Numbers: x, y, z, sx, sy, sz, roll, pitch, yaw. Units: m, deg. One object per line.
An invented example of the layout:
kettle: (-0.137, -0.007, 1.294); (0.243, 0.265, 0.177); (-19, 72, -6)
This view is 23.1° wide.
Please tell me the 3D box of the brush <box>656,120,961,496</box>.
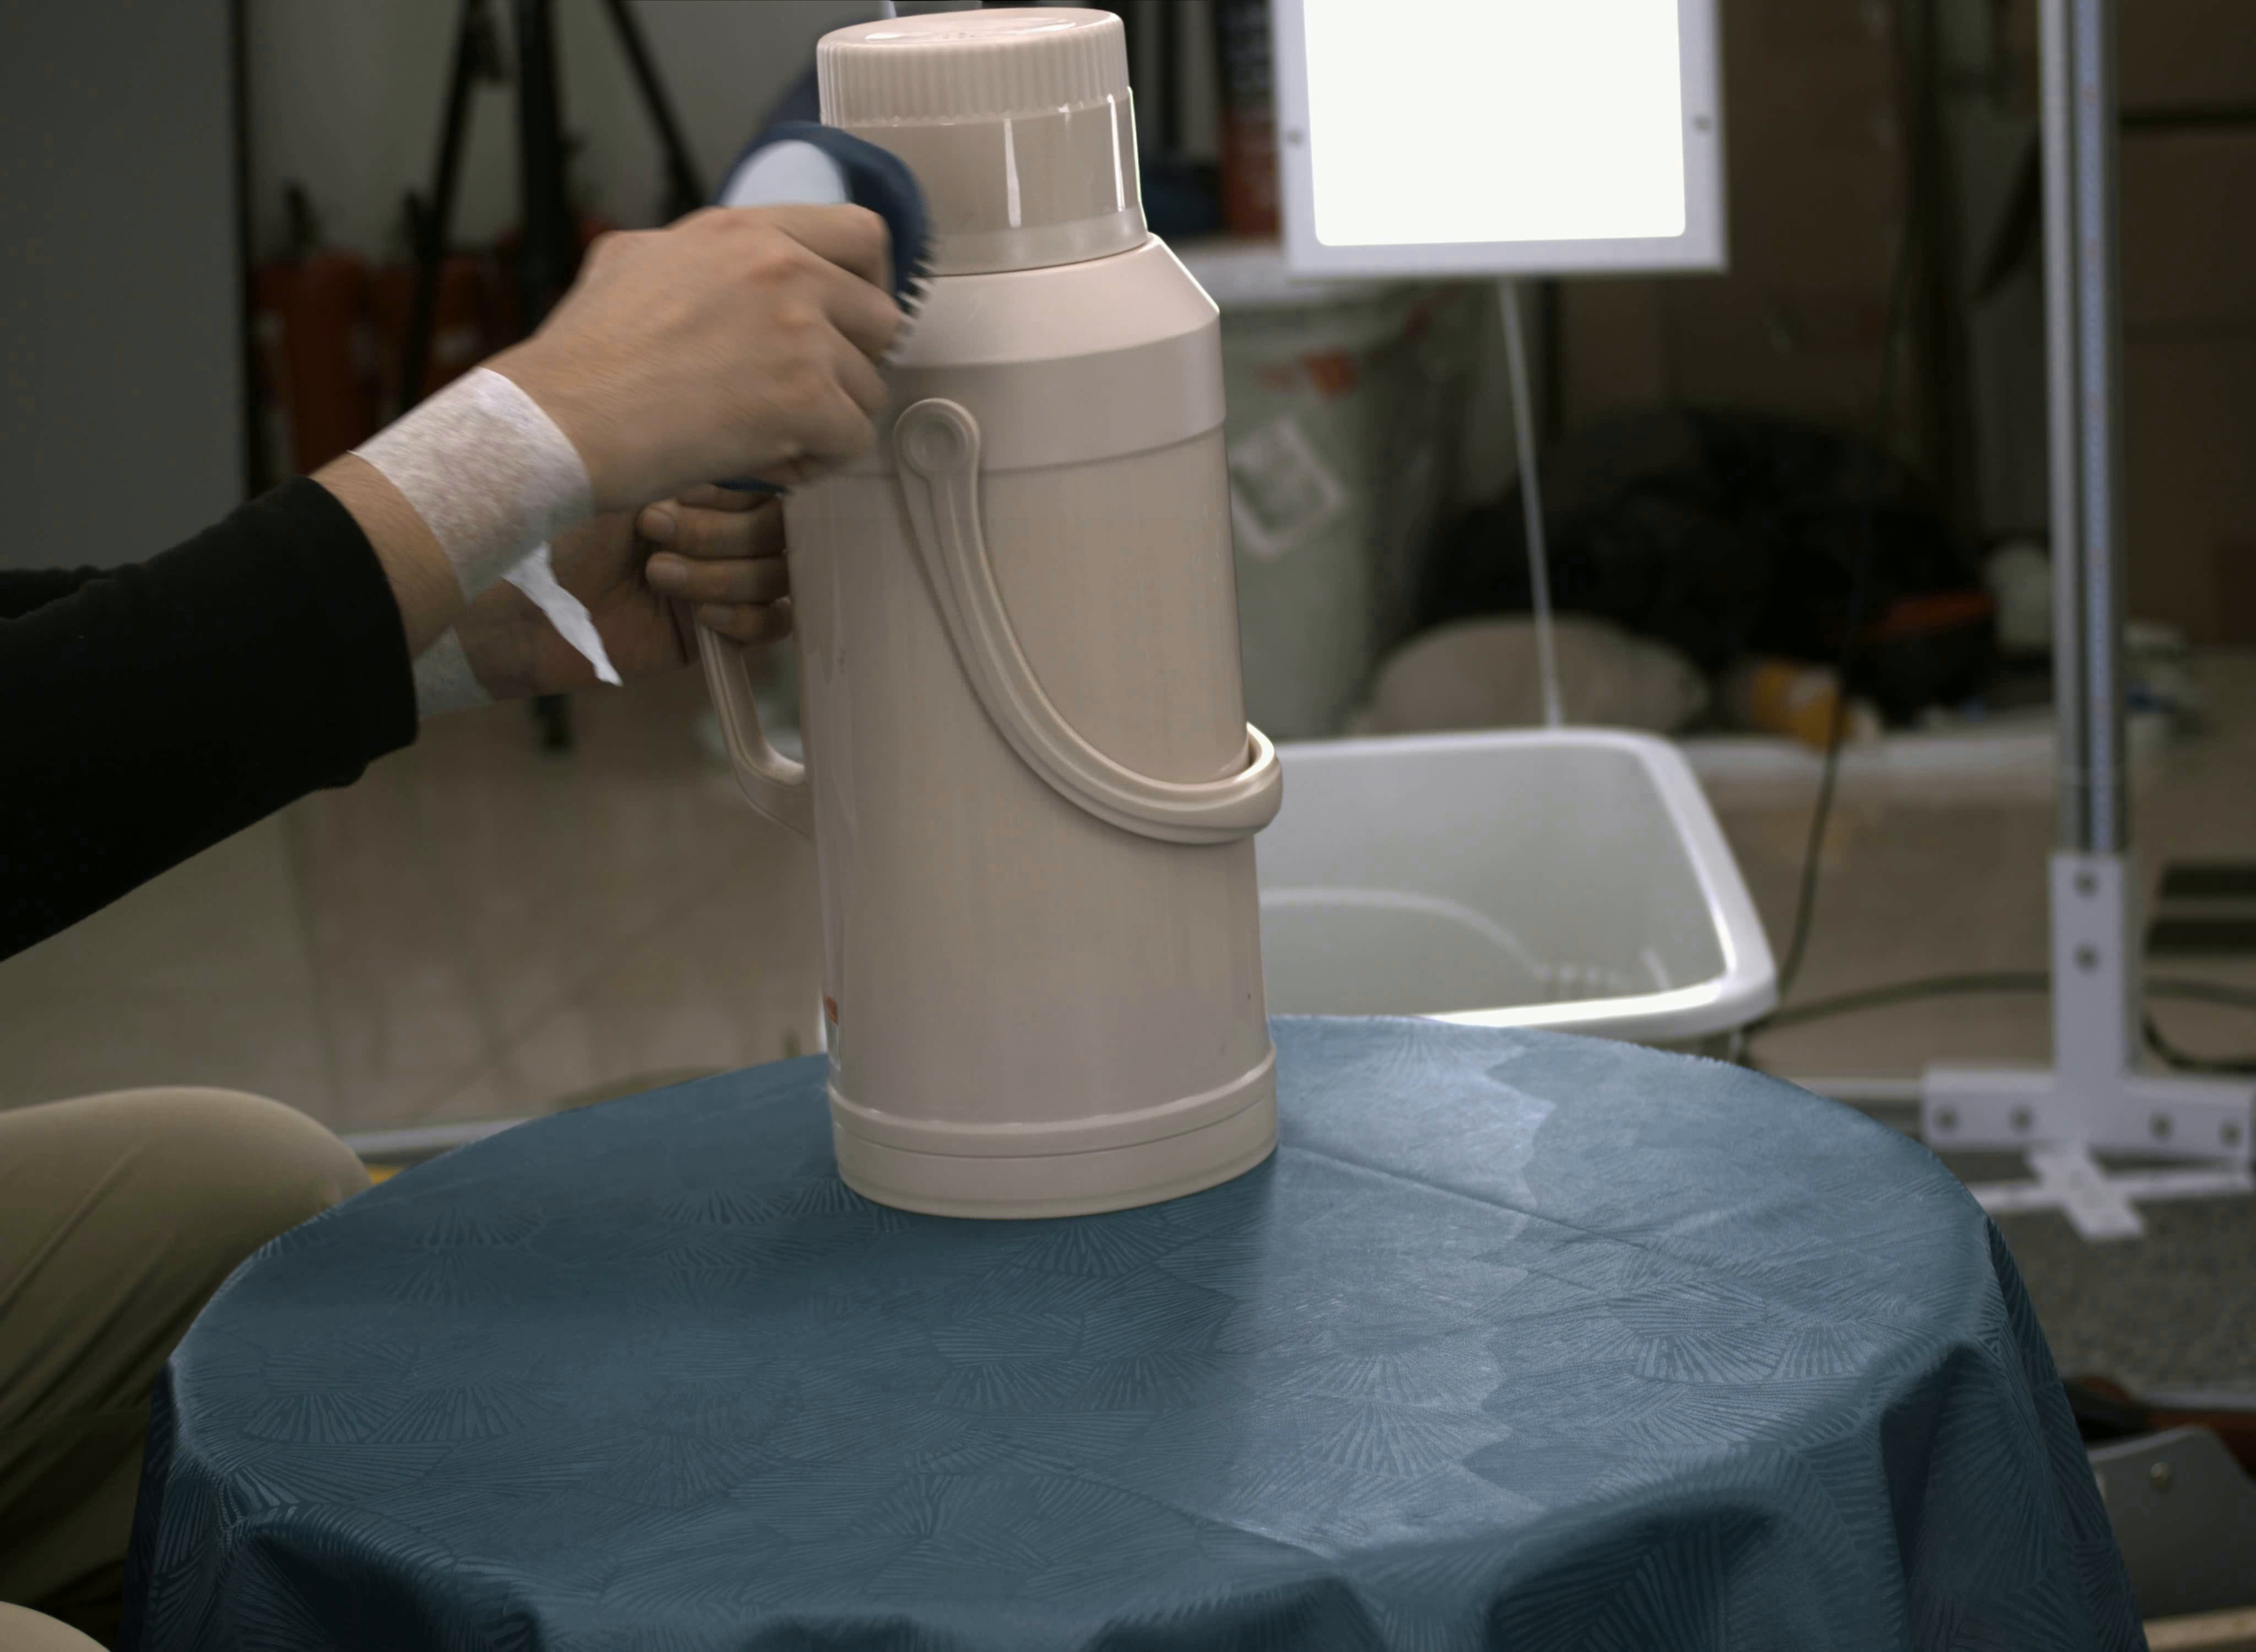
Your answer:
brush: (-0.099, -0.163, 1.756); (0.069, 0.122, 0.060); (27, -1, 36)

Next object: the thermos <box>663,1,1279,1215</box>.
thermos: (-0.054, -0.077, 1.913); (0.209, 0.408, 0.173); (-1, 16, 14)
